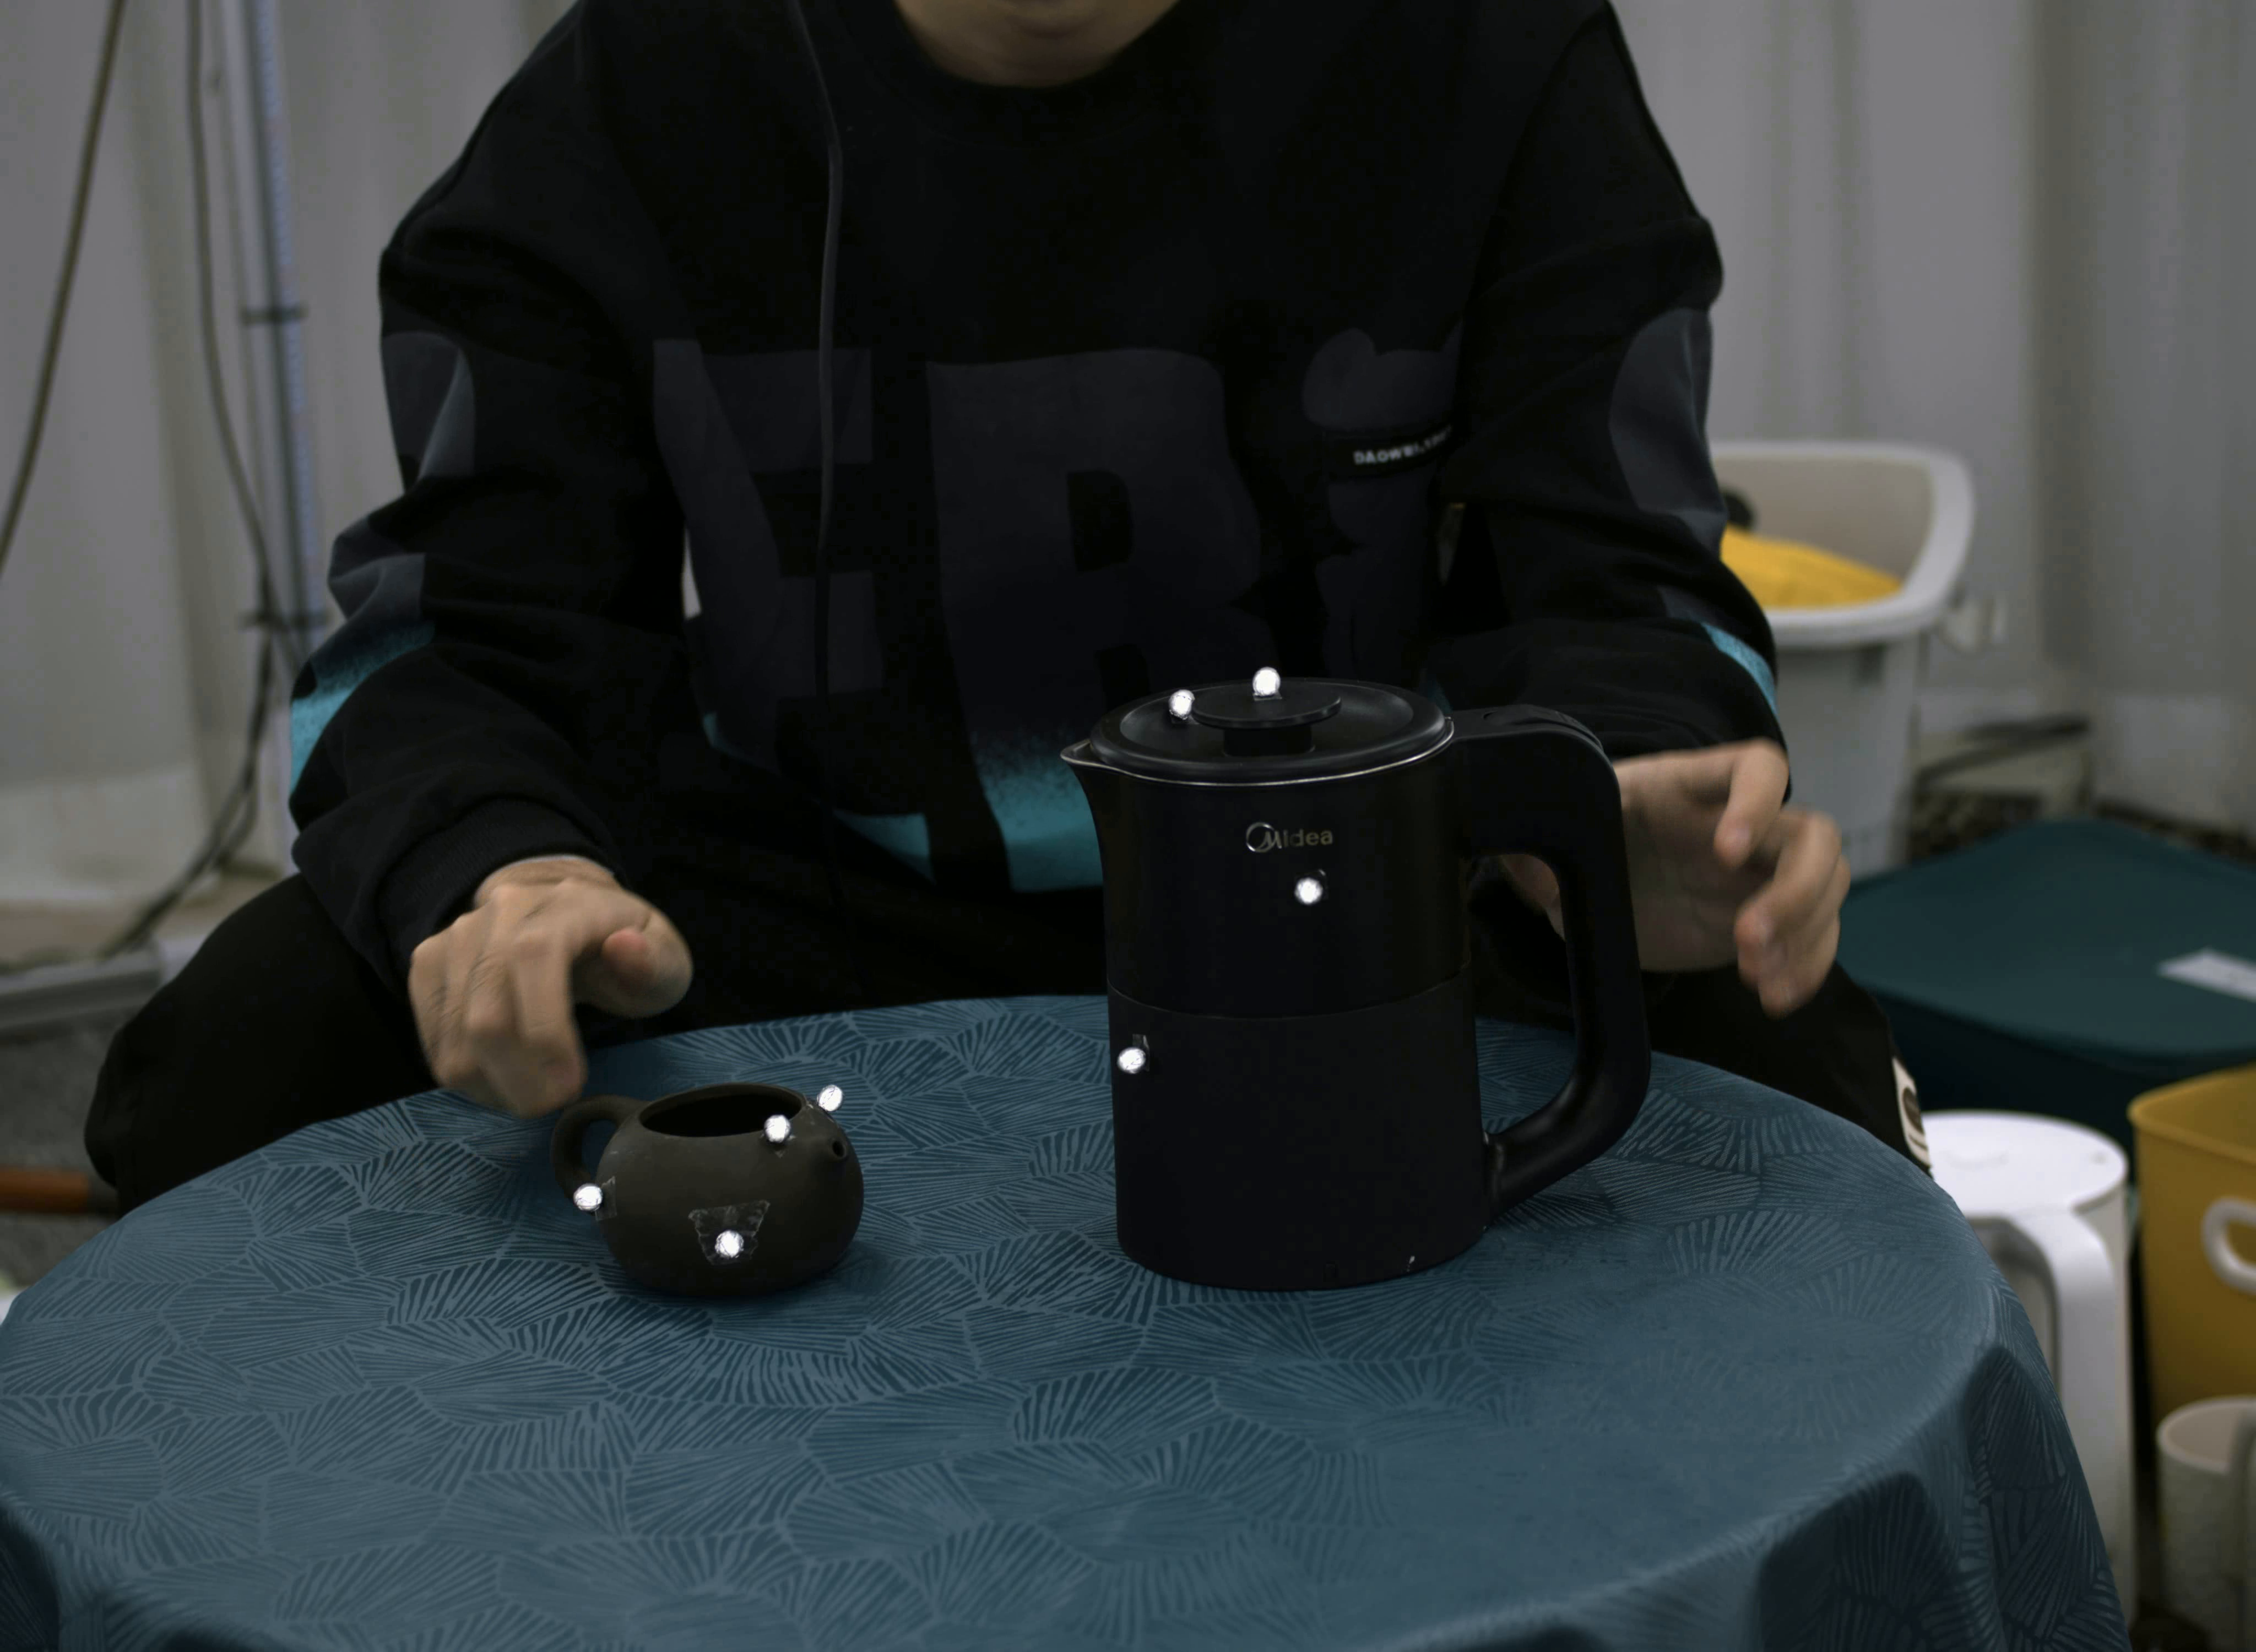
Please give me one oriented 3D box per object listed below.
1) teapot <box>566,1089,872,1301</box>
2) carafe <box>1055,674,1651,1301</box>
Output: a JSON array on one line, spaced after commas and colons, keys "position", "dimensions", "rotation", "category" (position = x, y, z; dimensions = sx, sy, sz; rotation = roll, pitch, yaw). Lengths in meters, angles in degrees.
[{"position": [-0.128, 0.109, 1.665], "dimensions": [0.115, 0.053, 0.083], "rotation": [13, 20, 38], "category": "teapot"}, {"position": [0.069, 0.040, 1.652], "dimensions": [0.171, 0.173, 0.115], "rotation": [-7, 13, -6], "category": "carafe"}]
